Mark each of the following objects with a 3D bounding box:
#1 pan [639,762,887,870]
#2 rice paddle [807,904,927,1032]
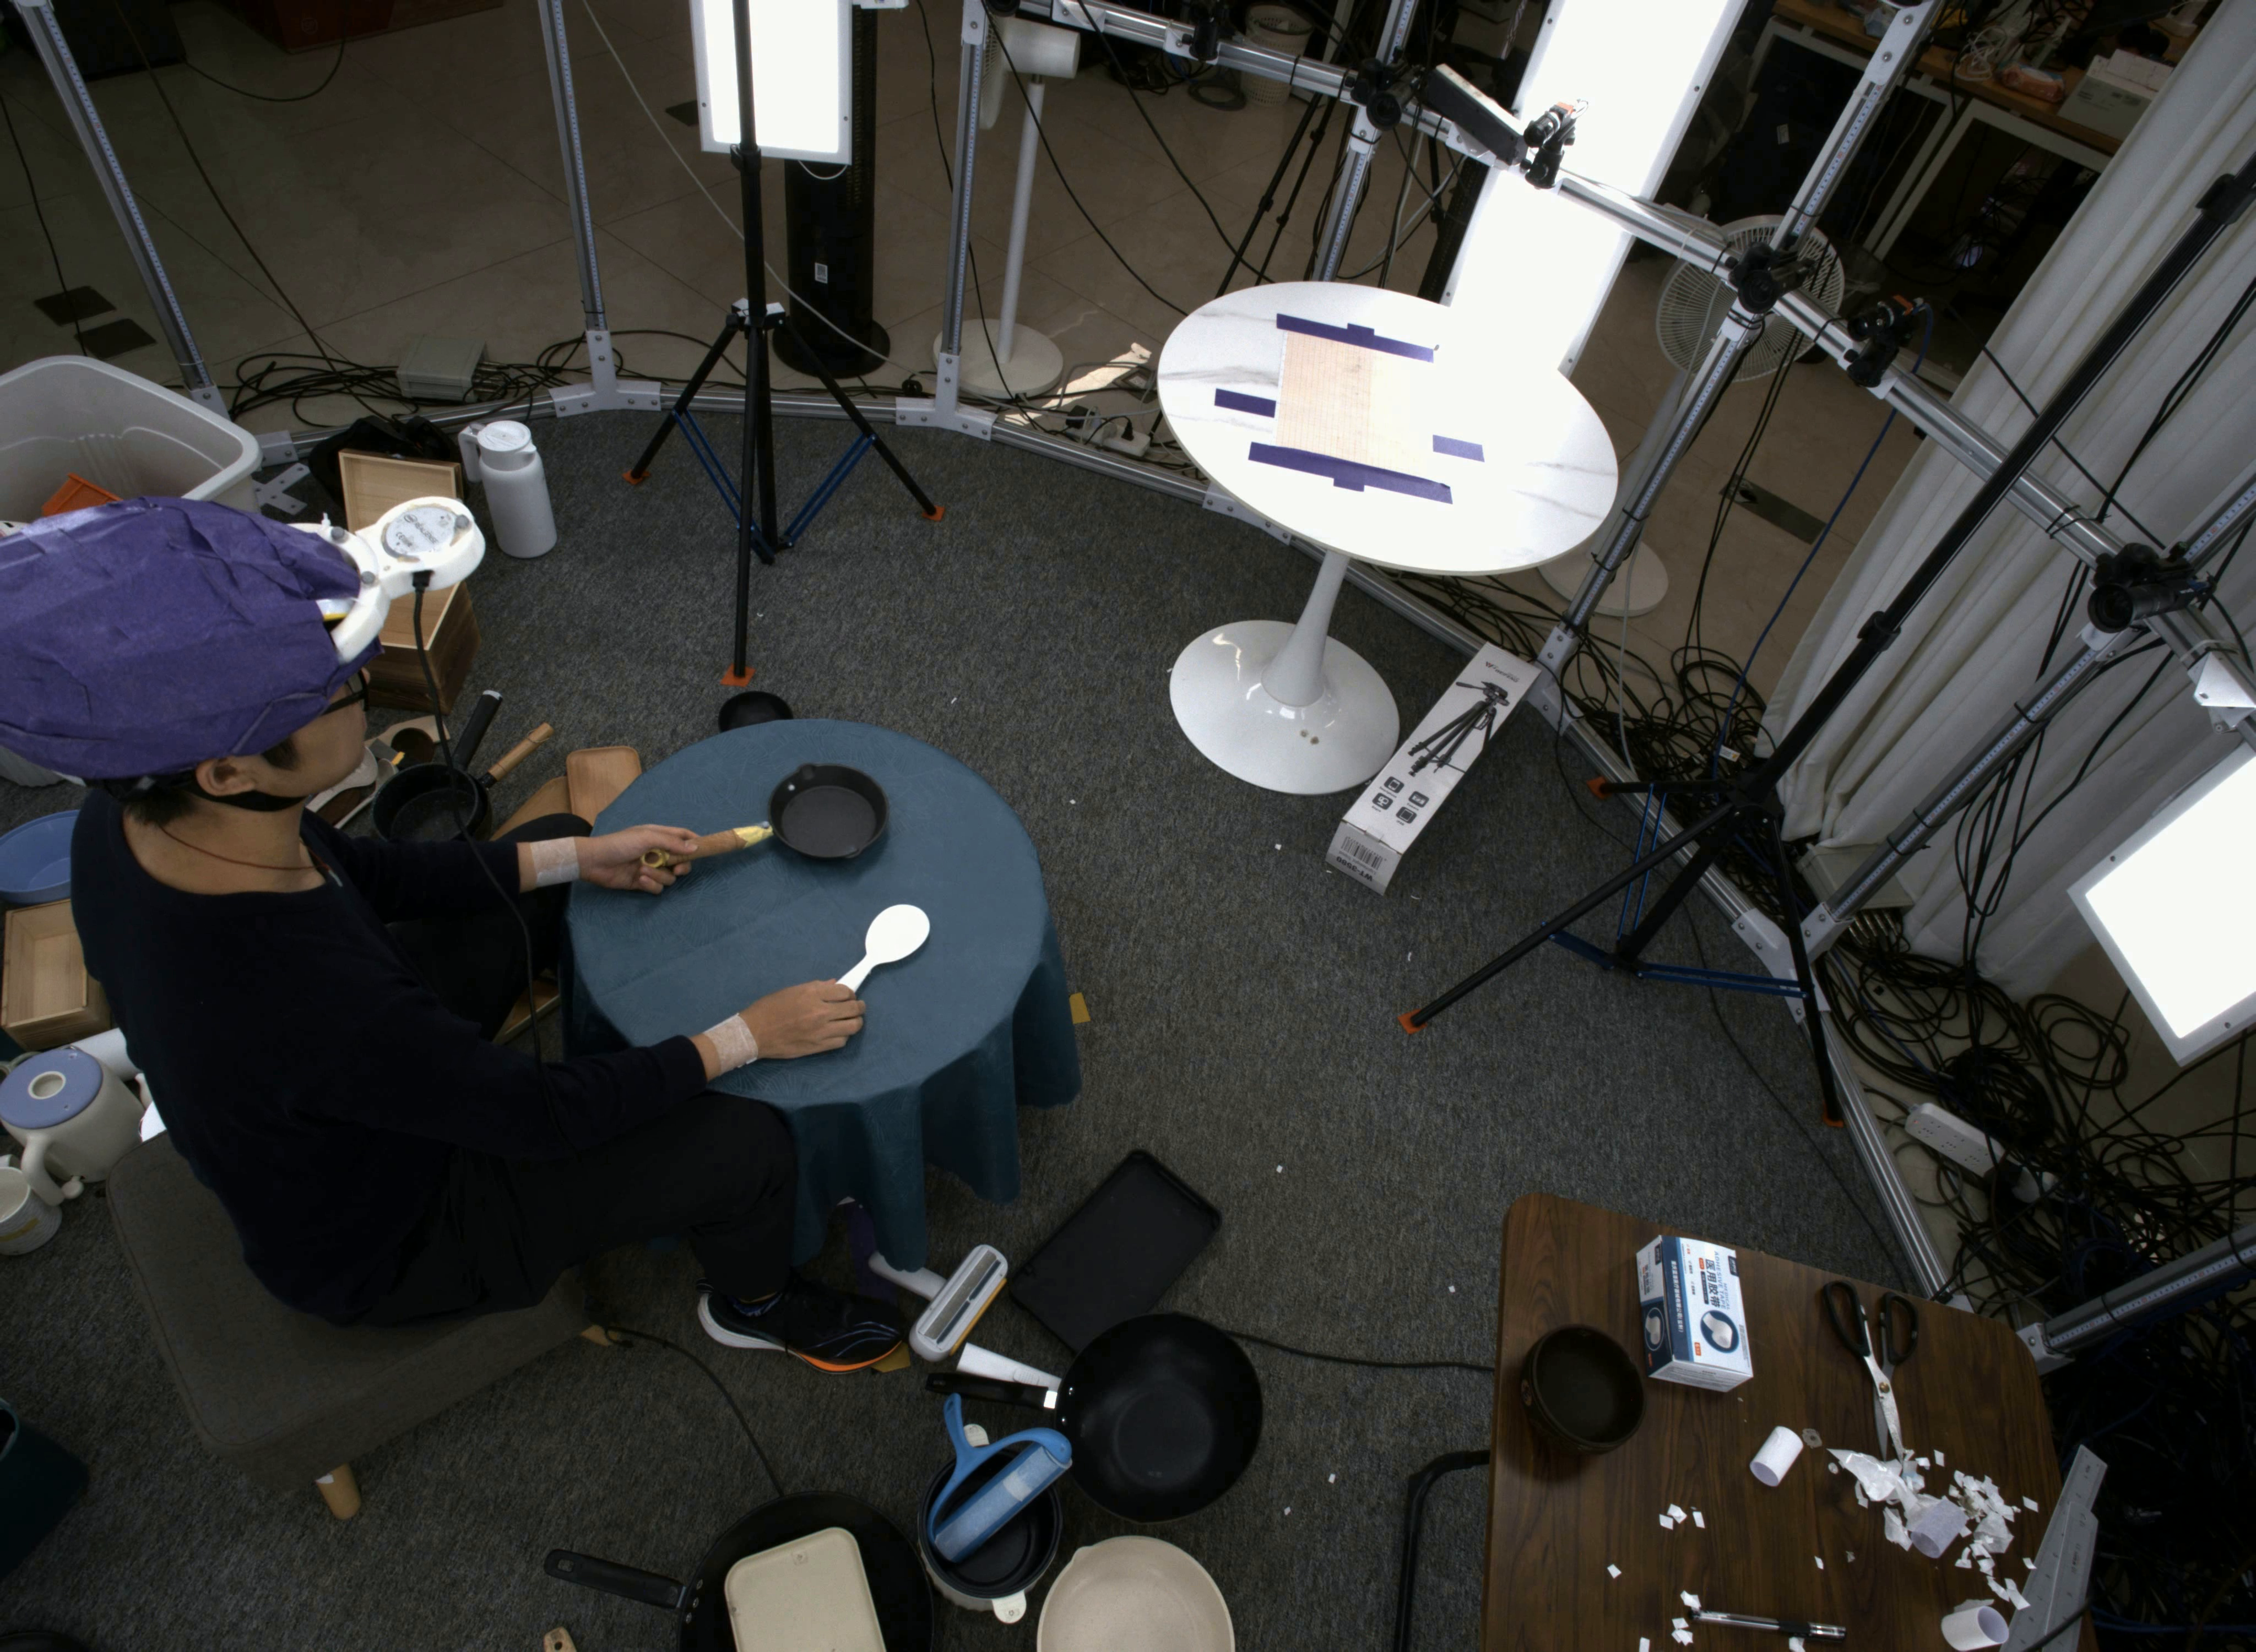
[{"bbox_3d":[-0.468,0.004,1.666,0.326,0.050,0.165,-17,60,-27],"label":"pan"},{"bbox_3d":[-0.319,0.166,1.598,0.068,0.030,0.204,32,53,8],"label":"rice paddle"}]
